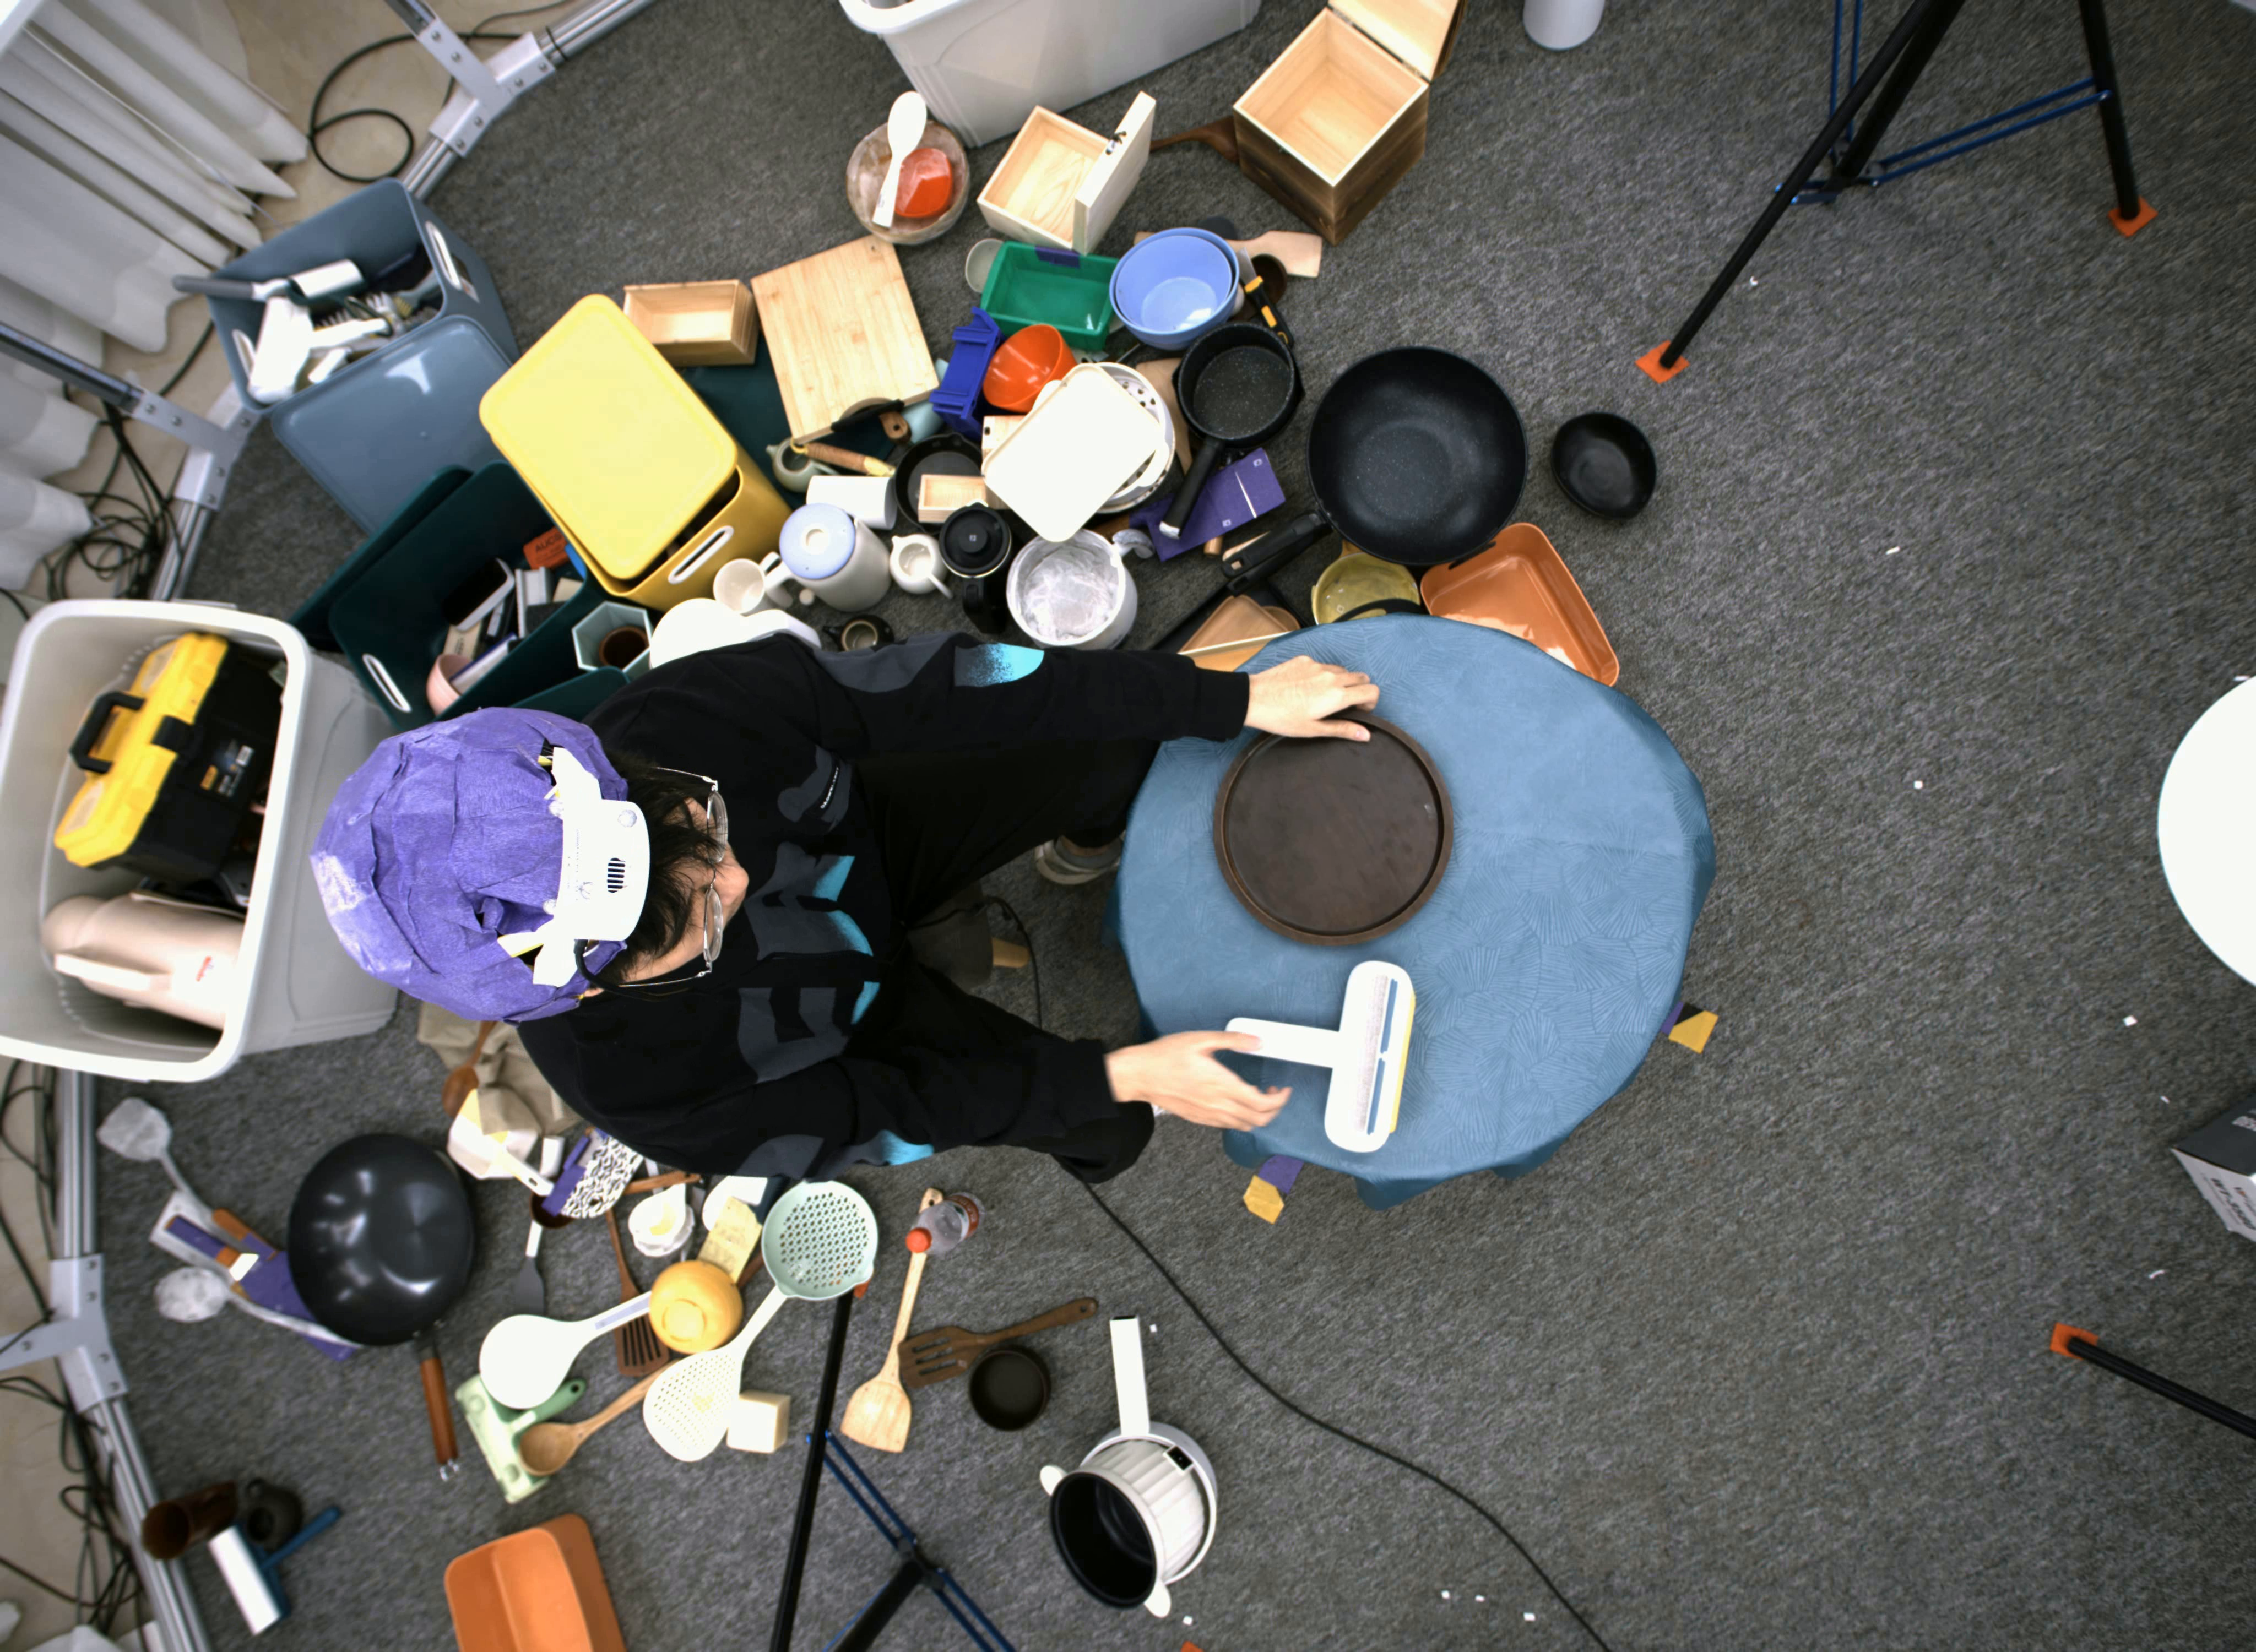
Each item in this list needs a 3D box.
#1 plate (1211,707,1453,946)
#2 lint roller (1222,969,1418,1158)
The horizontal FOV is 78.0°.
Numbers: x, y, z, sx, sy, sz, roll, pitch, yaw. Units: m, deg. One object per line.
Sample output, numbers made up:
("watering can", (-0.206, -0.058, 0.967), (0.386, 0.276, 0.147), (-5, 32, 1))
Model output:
("plate", (0.214, -0.001, 1.458), (0.256, 0.029, 0.254), (-1, 87, 12))
("lint roller", (0.188, 0.228, 1.428), (0.193, 0.074, 0.191), (13, 84, 12))
